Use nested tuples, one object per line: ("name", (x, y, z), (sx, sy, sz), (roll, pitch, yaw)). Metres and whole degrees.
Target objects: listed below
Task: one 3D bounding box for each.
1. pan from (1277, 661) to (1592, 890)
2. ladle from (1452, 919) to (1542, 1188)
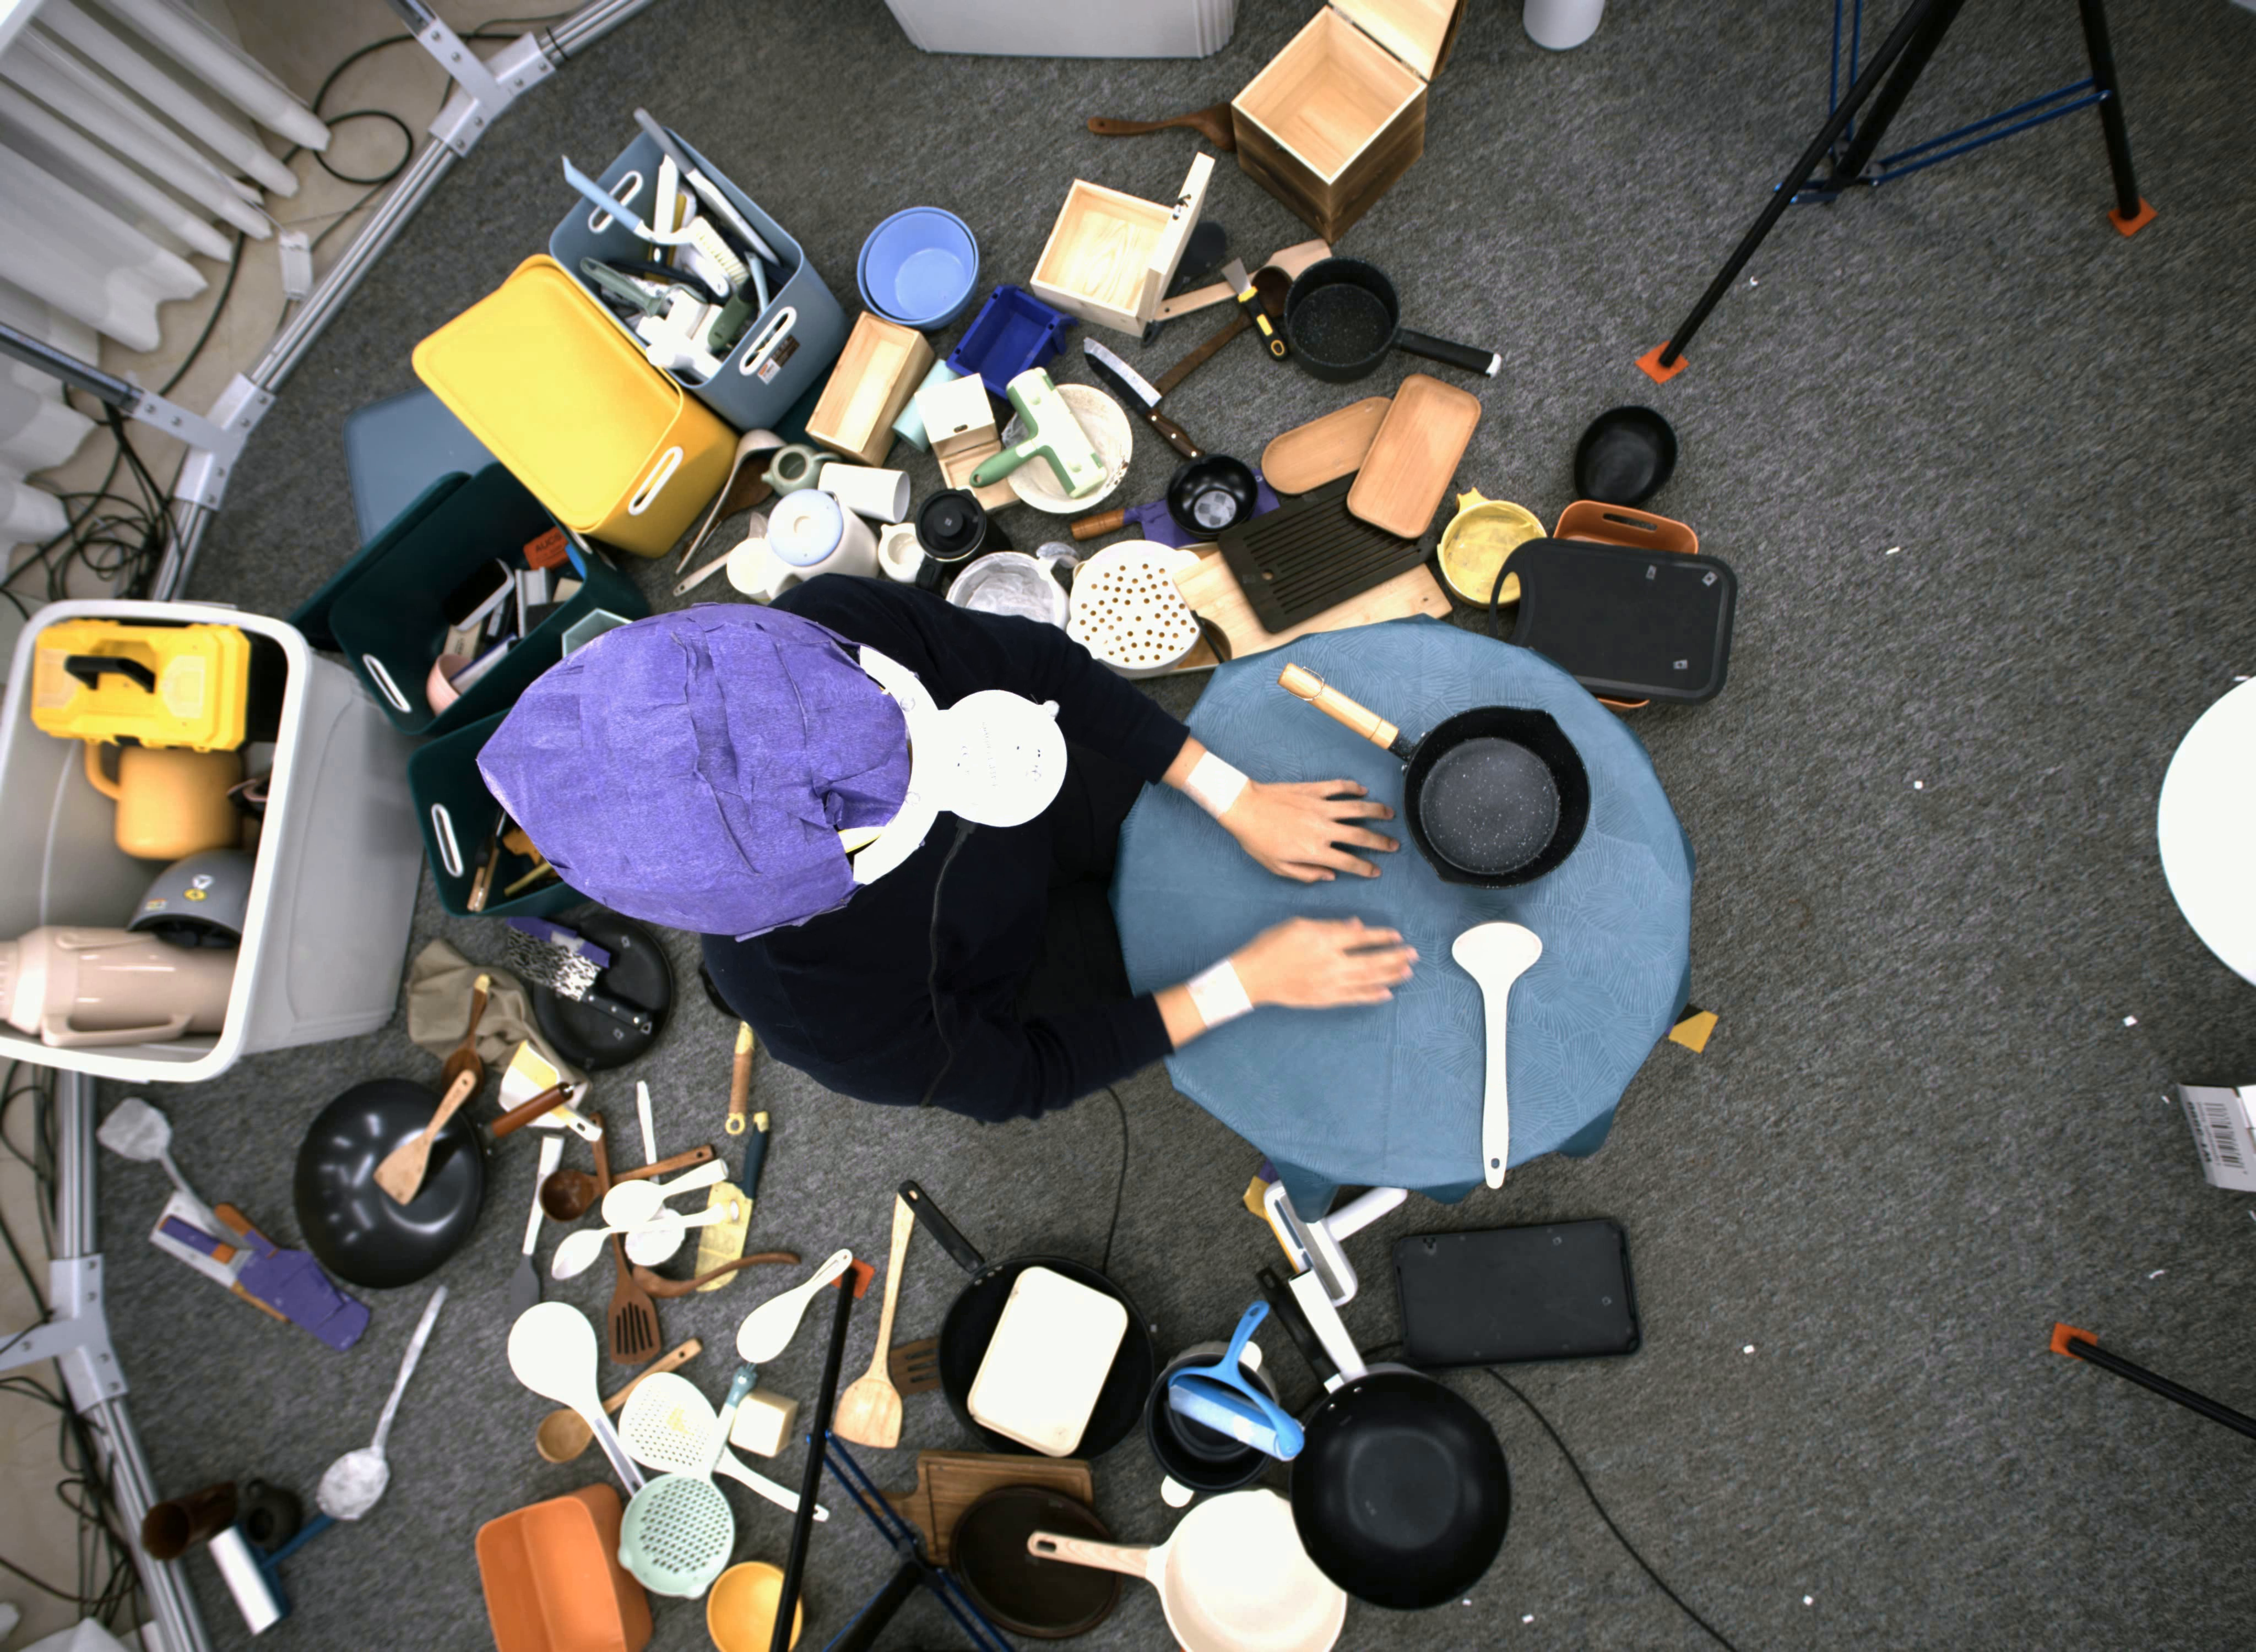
("pan", (0.303, -0.067, 1.406), (0.342, 0.108, 0.208), (30, 93, 9))
("ladle", (0.375, 0.230, 1.397), (0.089, 0.069, 0.273), (0, 87, 4))
